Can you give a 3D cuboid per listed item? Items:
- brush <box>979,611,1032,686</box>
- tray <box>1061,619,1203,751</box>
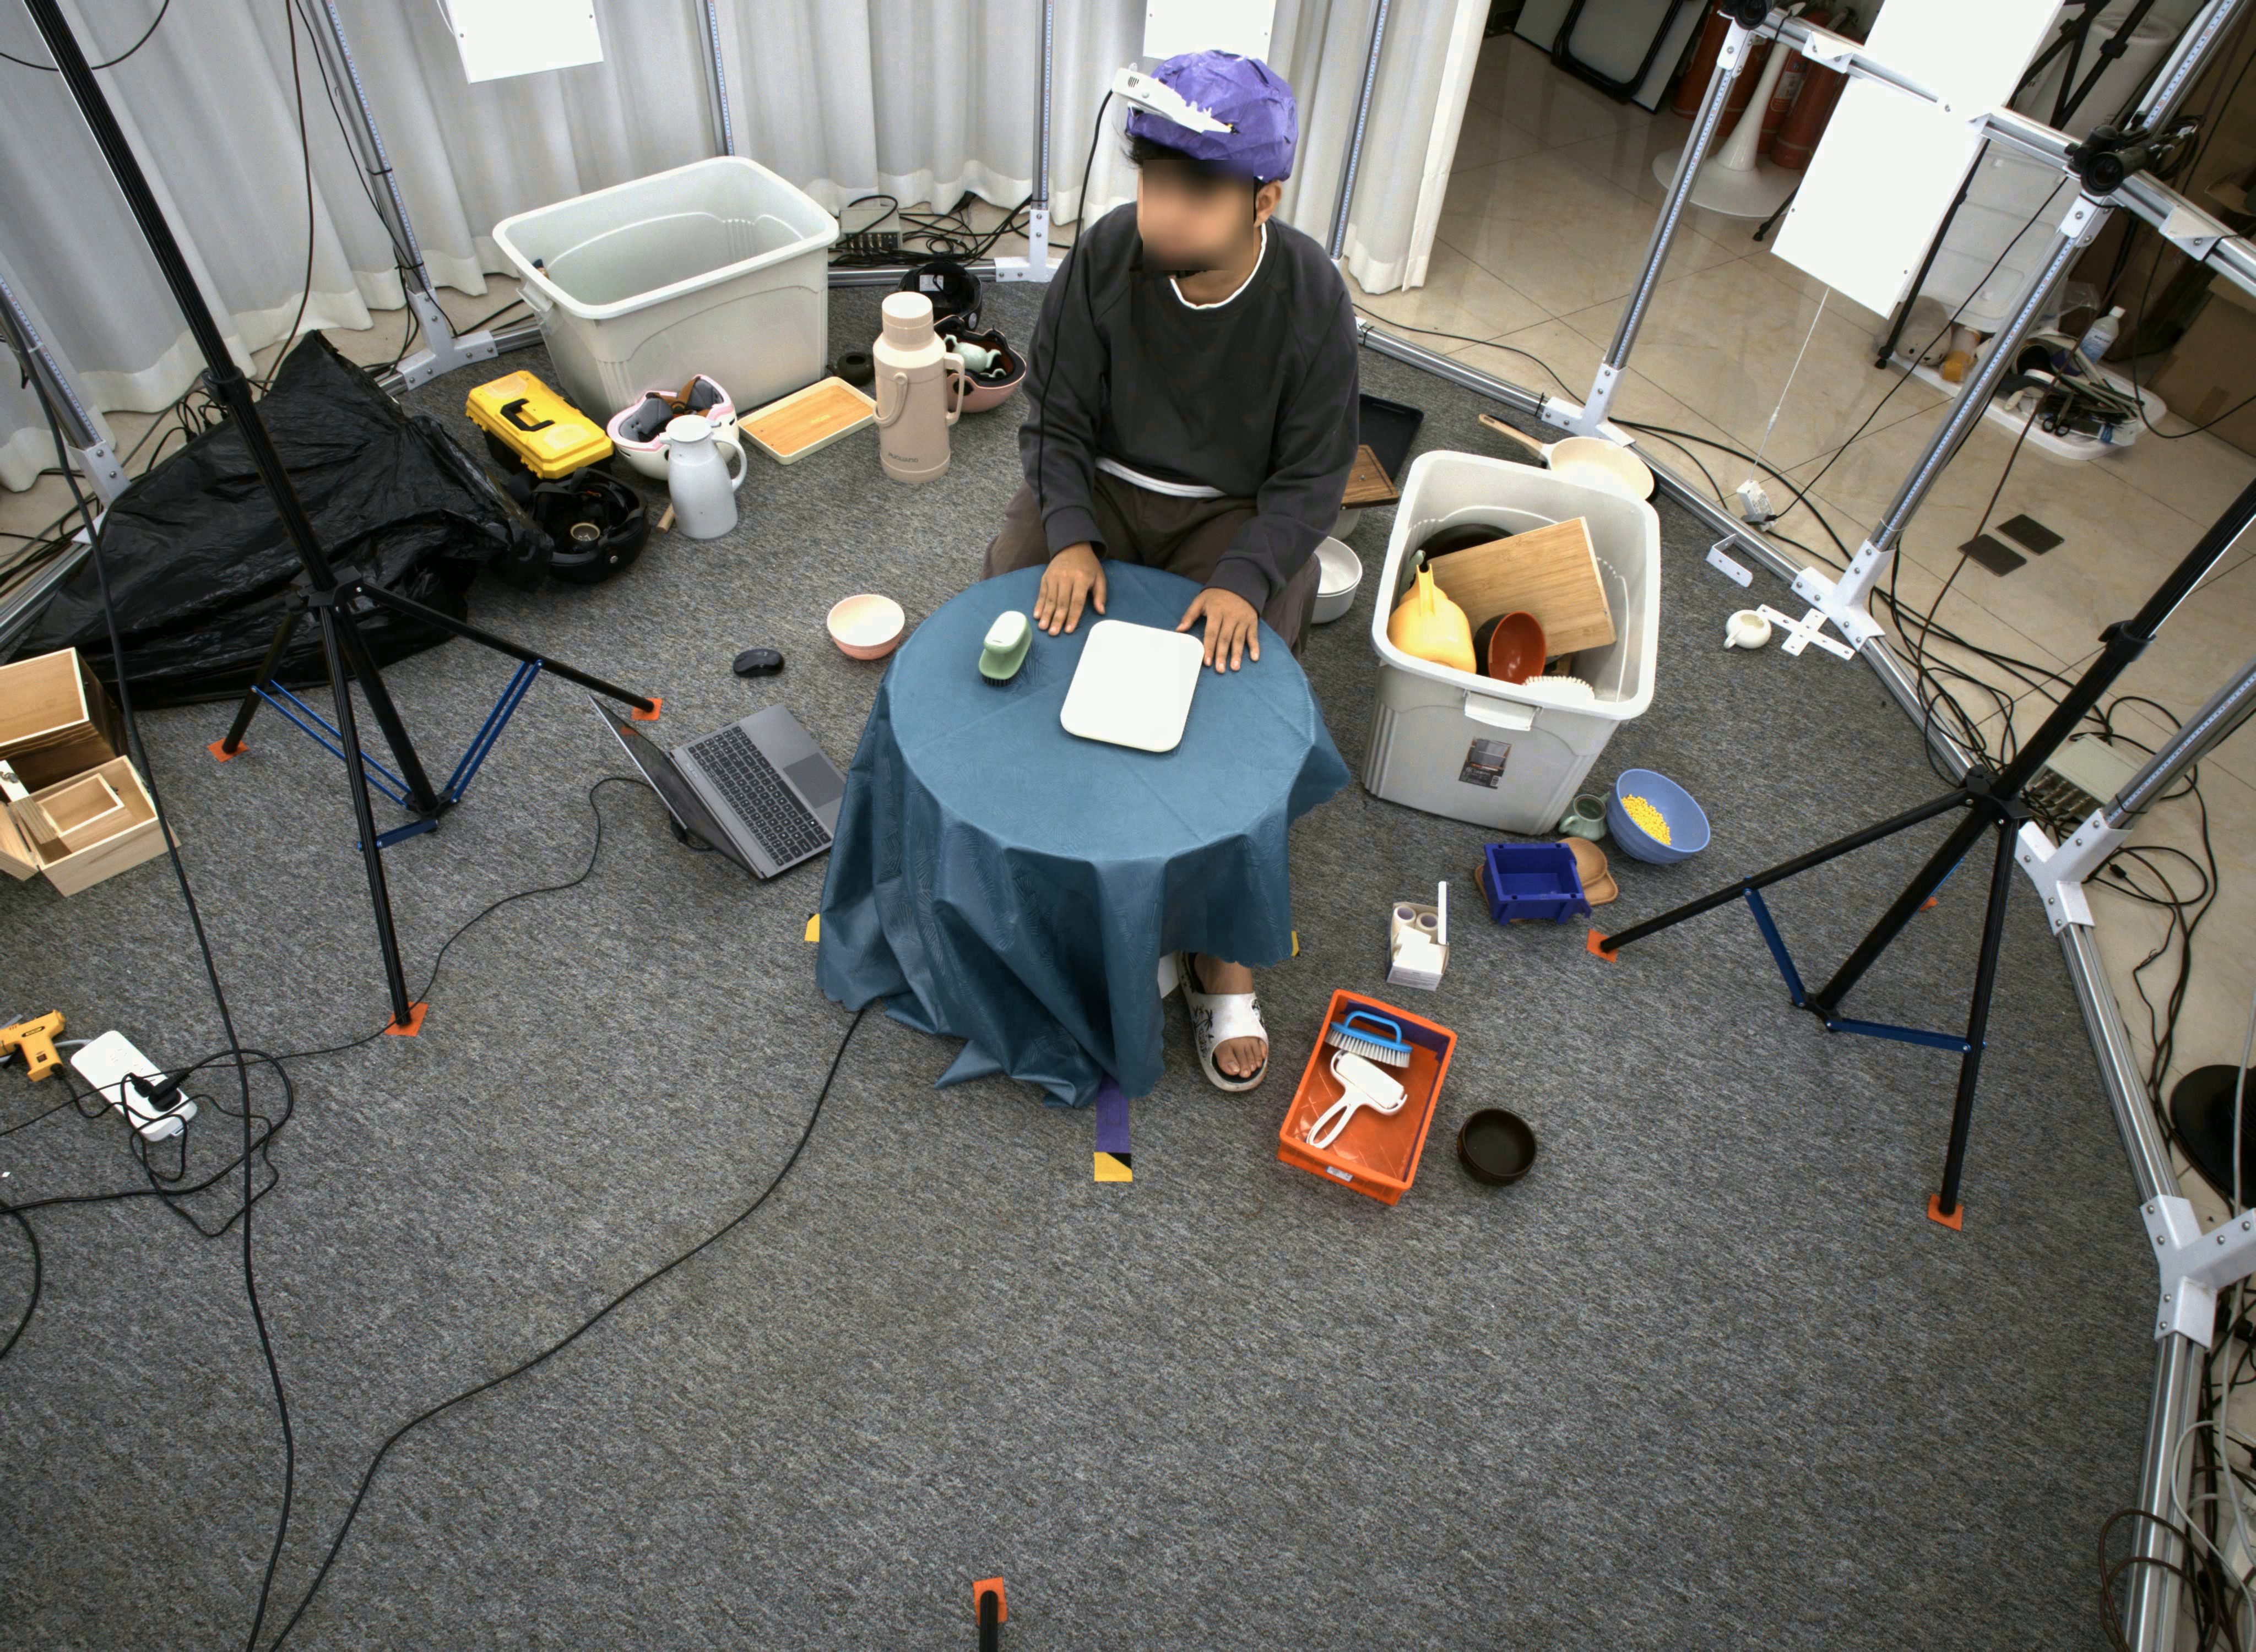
[{"bbox_3d":[-0.175,-0.255,1.839,0.060,0.074,0.125,13,36,5],"label":"brush"},{"bbox_3d":[0.008,-0.202,1.829,0.171,0.017,0.245,12,49,5],"label":"tray"}]
